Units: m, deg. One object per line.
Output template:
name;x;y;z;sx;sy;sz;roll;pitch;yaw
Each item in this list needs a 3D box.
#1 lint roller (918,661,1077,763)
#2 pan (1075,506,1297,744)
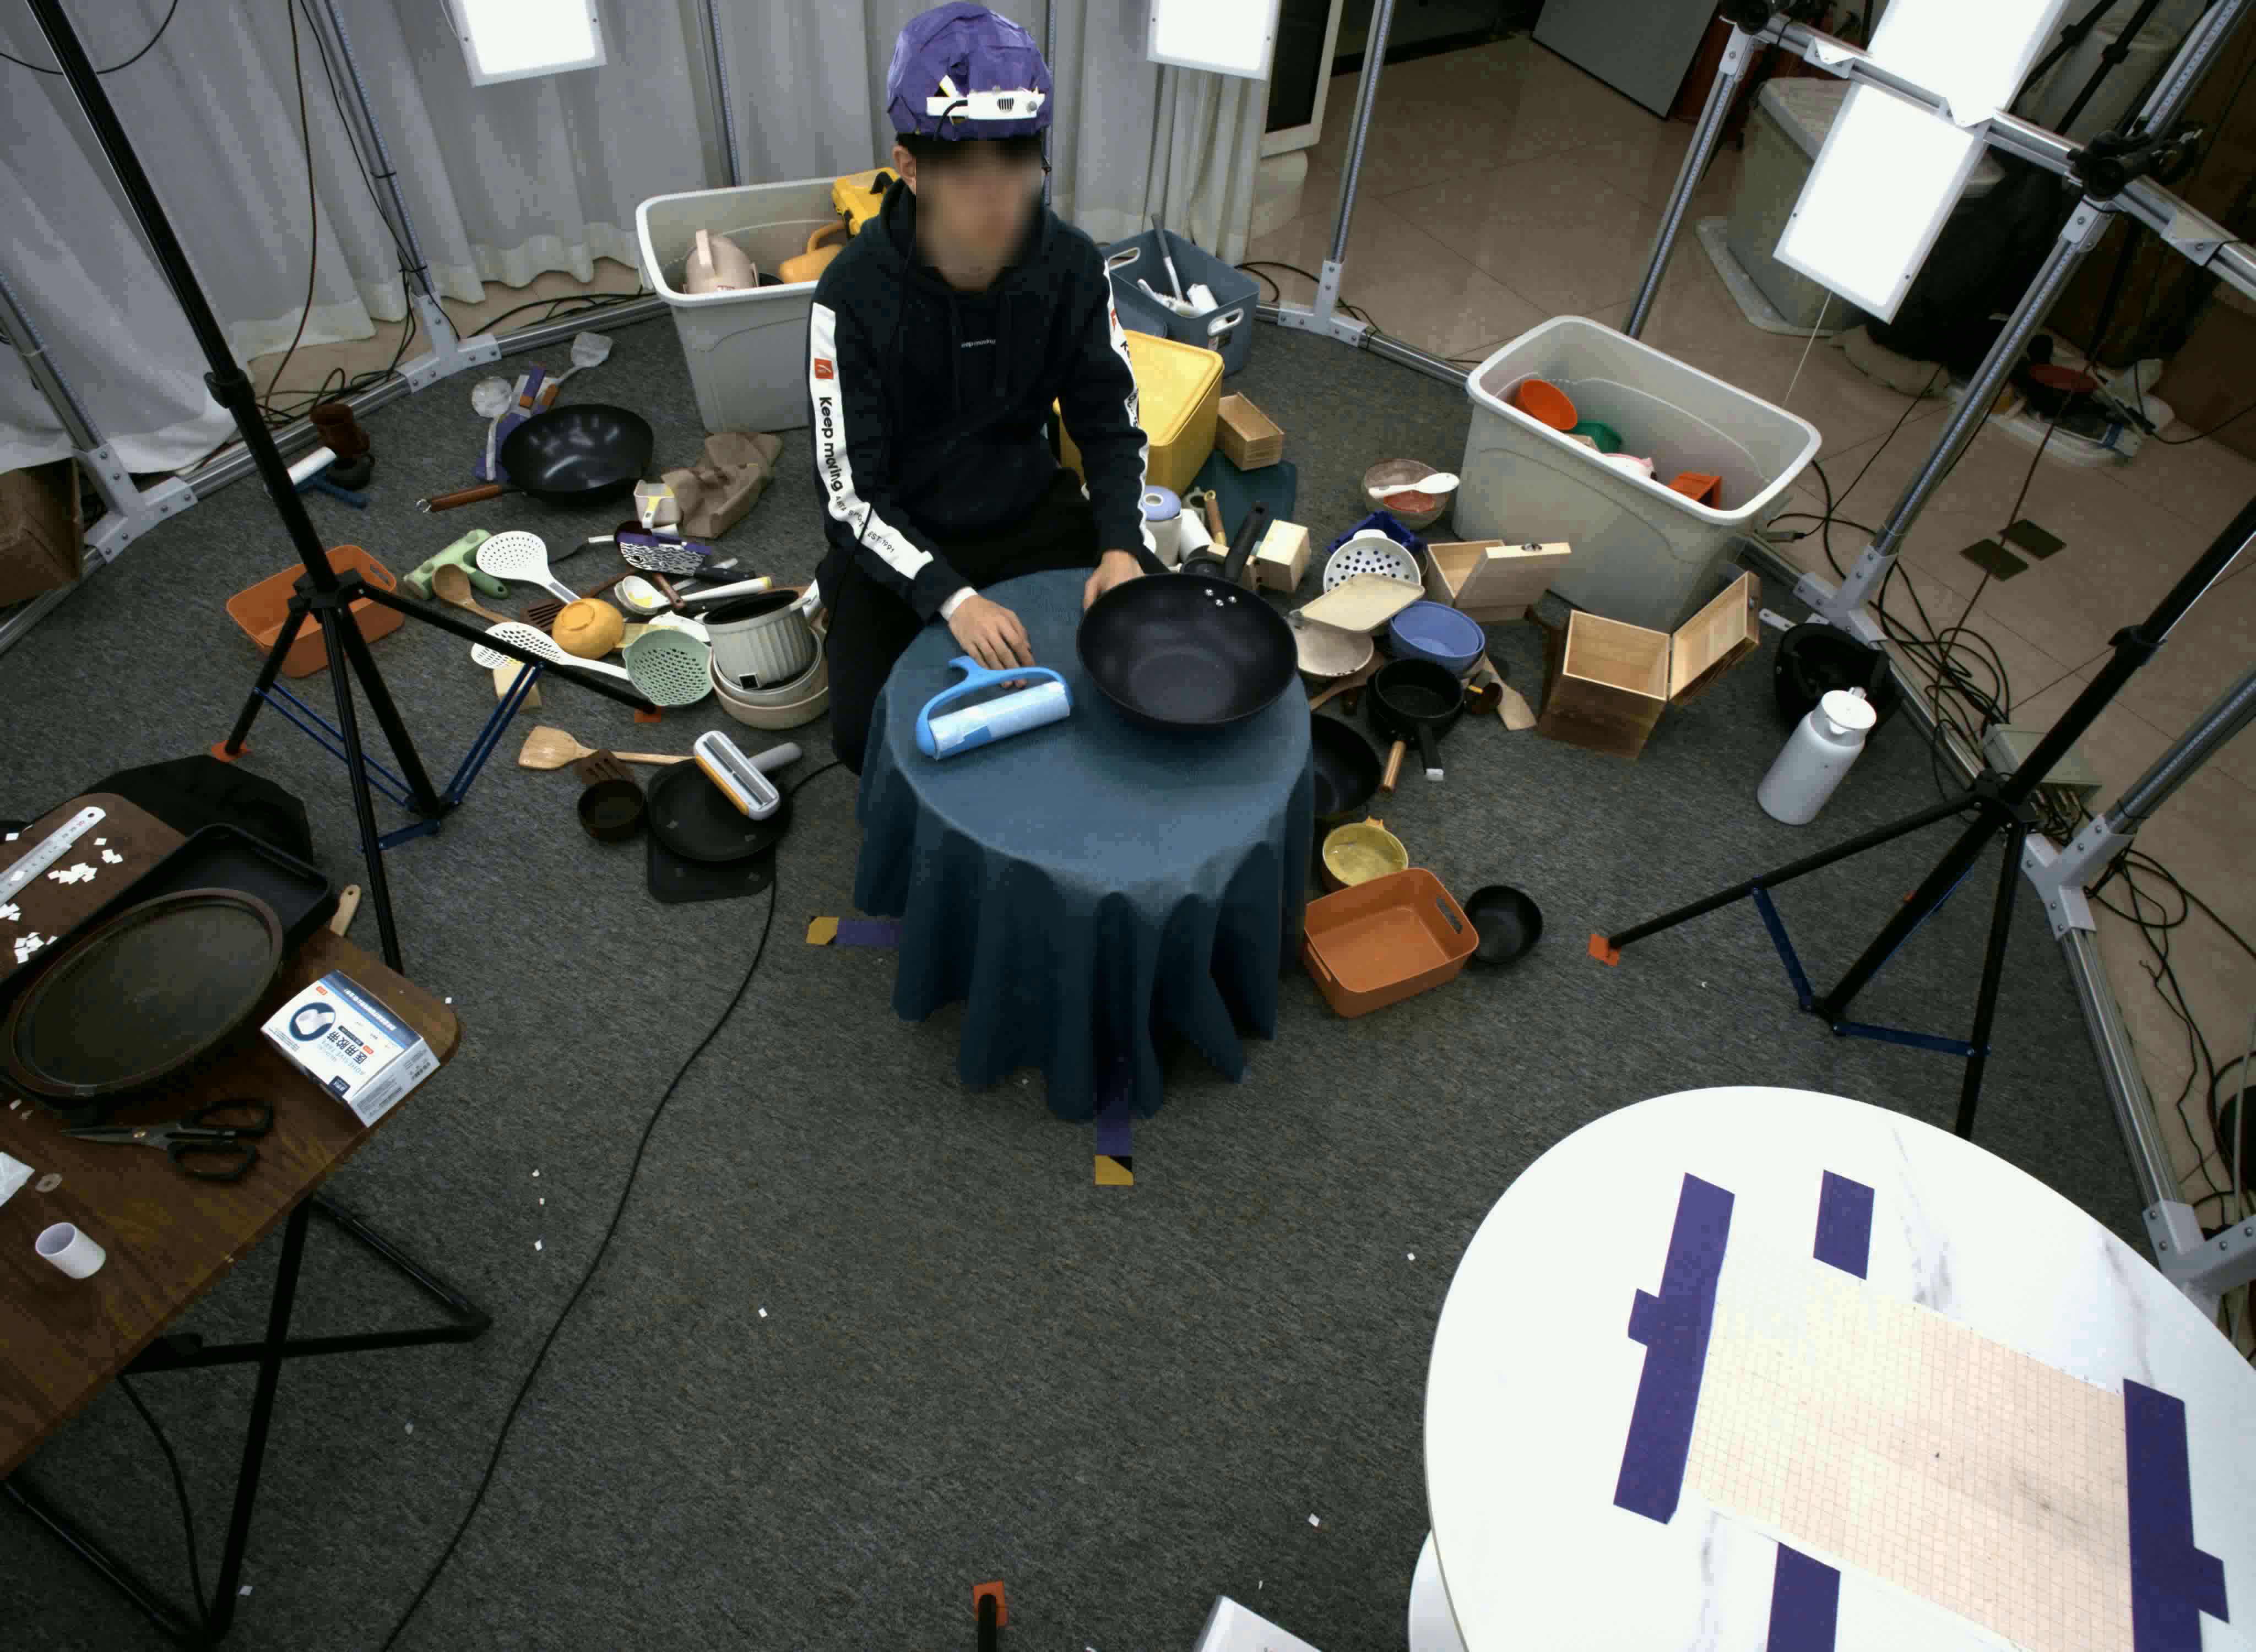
lint roller;-0.205;-0.183;1.778;0.230;0.066;0.184;-24;55;-20
pan;0.111;-0.286;1.855;0.311;0.109;0.486;20;51;11
